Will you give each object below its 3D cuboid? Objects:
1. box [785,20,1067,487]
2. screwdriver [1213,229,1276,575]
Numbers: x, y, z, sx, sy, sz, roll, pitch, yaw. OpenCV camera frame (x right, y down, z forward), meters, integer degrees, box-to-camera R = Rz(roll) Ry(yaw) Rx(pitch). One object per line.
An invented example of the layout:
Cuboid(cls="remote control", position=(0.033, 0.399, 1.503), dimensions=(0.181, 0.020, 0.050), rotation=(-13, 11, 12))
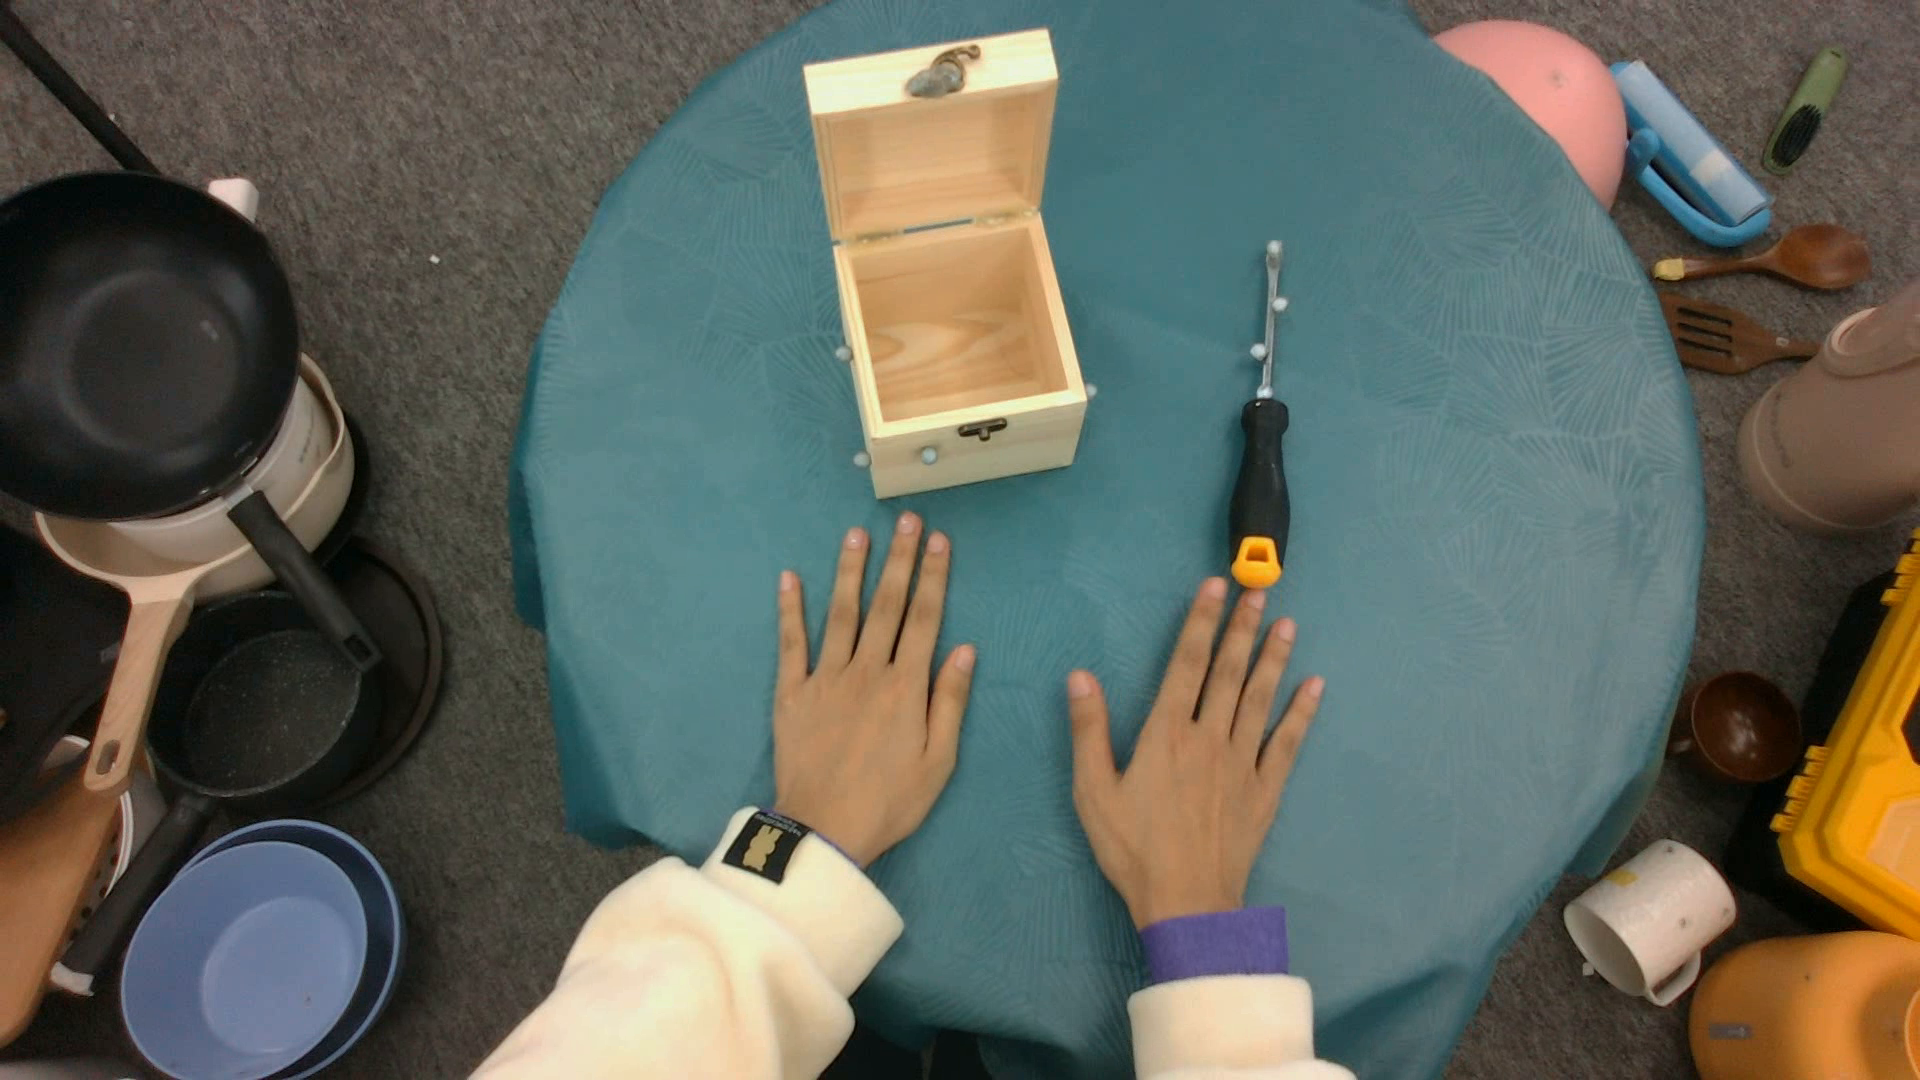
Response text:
Cuboid(cls="box", position=(-0.012, -0.120, 0.625), dimensions=(0.102, 0.184, 0.134), rotation=(-12, 71, -6))
Cuboid(cls="screwdriver", position=(0.151, -0.075, 0.700), dimensions=(0.031, 0.031, 0.198), rotation=(10, 68, 2))
